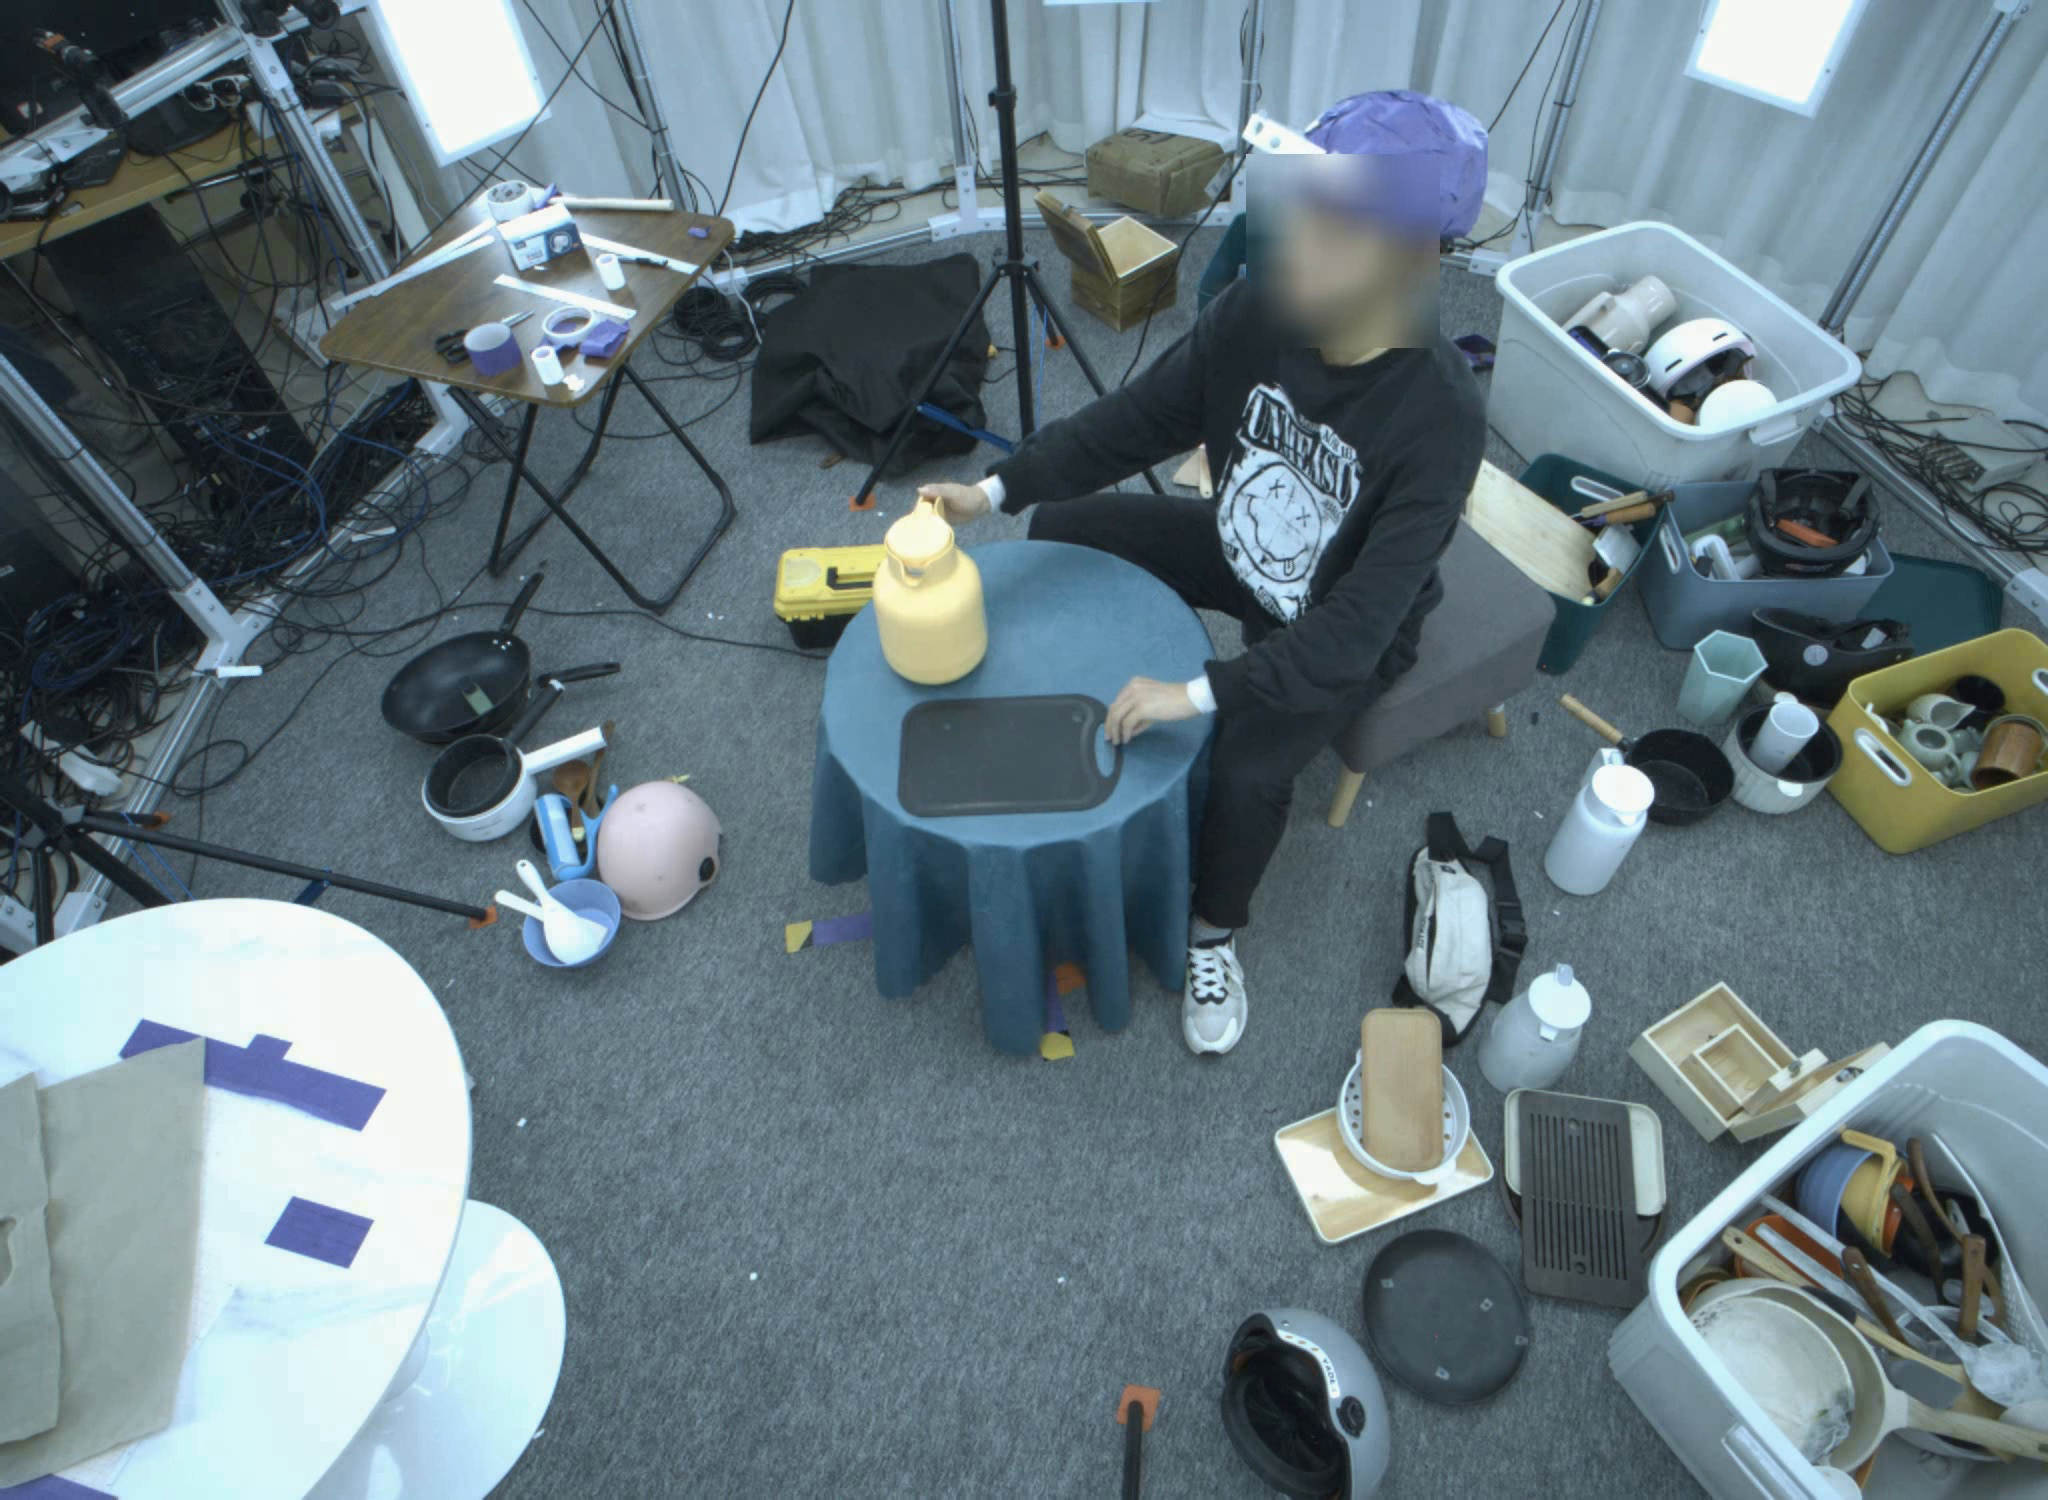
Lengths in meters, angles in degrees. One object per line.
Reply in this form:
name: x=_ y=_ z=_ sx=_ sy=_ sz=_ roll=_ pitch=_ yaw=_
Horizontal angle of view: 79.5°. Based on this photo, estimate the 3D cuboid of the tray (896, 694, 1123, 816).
tray: x=-0.020 y=0.003 z=1.777 sx=0.325 sy=0.010 sz=0.209 roll=-2 pitch=55 yaw=1

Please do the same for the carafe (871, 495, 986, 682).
carafe: x=-0.139 y=-0.243 z=1.798 sx=0.163 sy=0.263 sz=0.201 roll=6 pitch=57 yaw=4
